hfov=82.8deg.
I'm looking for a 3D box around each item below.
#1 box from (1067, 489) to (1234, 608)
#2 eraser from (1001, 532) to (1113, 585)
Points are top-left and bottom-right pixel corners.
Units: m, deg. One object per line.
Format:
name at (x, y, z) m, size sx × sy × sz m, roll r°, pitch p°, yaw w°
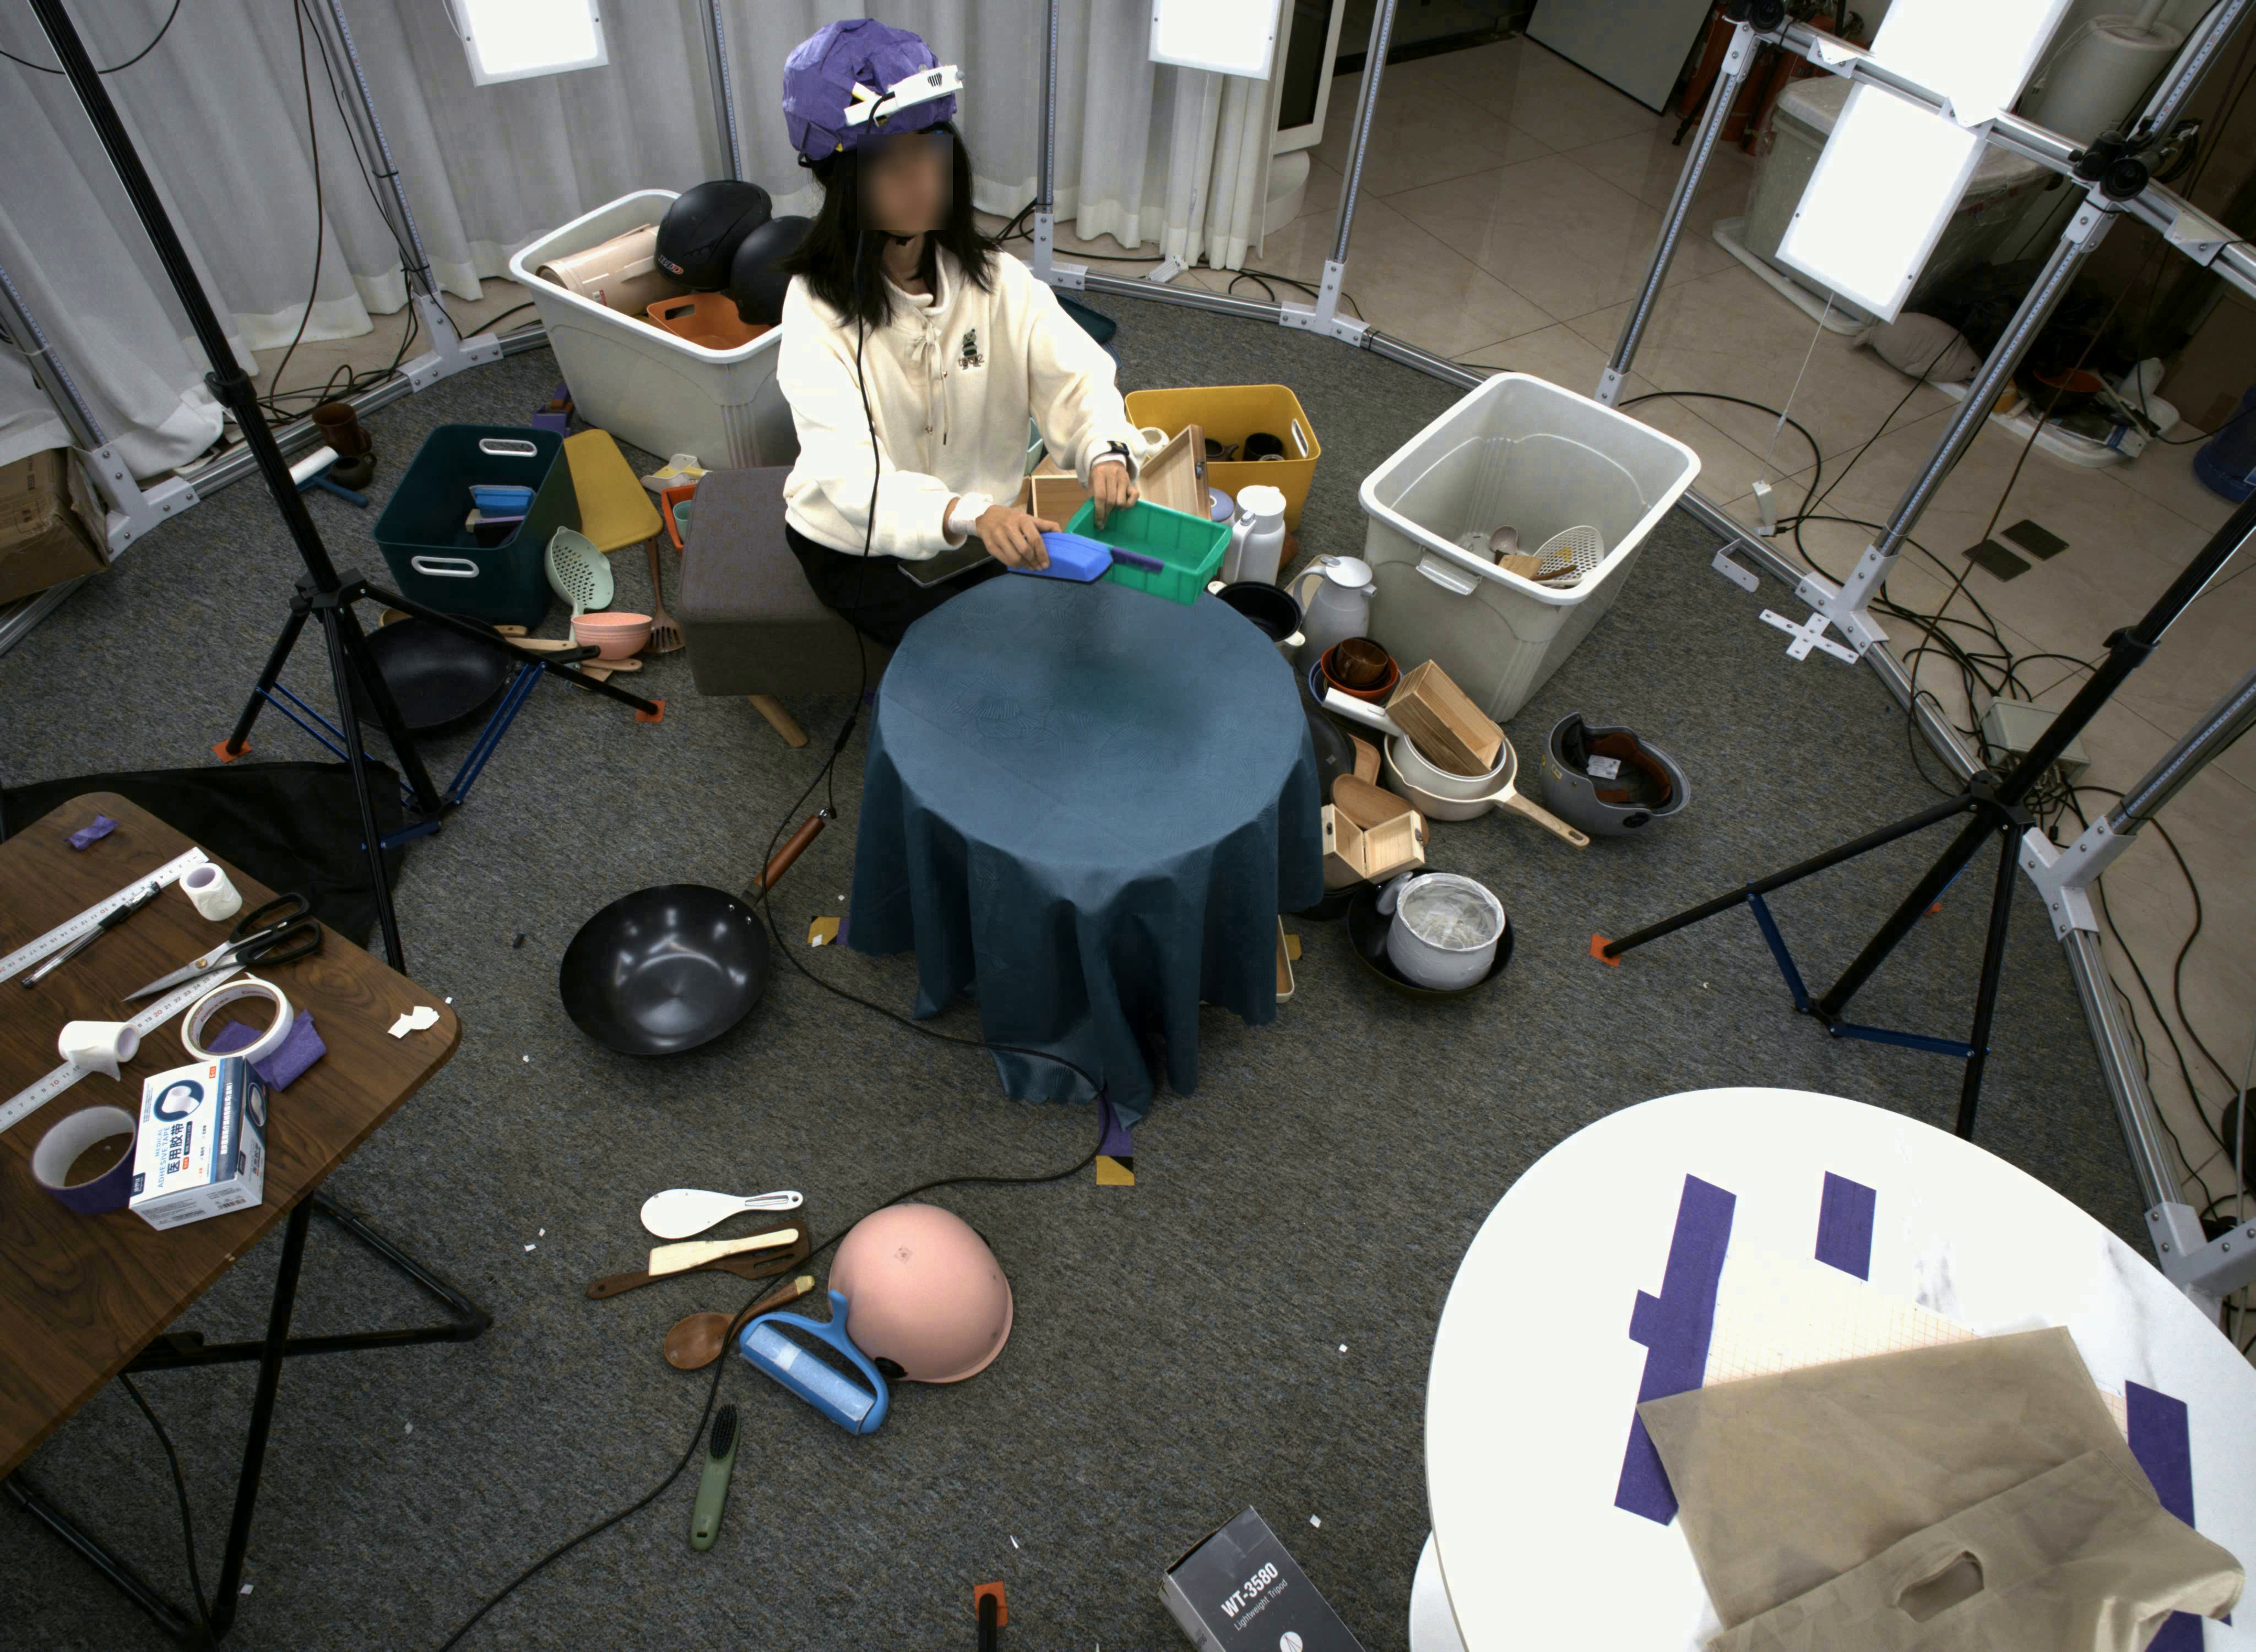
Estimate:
box at (0.029, -0.379, 1.768) m, size 0.211 × 0.064 × 0.141 m, roll 20°, pitch 47°, yaw 12°
eraser at (-0.097, -0.361, 1.721) m, size 0.164 × 0.046 × 0.054 m, roll 14°, pitch 49°, yaw 36°
